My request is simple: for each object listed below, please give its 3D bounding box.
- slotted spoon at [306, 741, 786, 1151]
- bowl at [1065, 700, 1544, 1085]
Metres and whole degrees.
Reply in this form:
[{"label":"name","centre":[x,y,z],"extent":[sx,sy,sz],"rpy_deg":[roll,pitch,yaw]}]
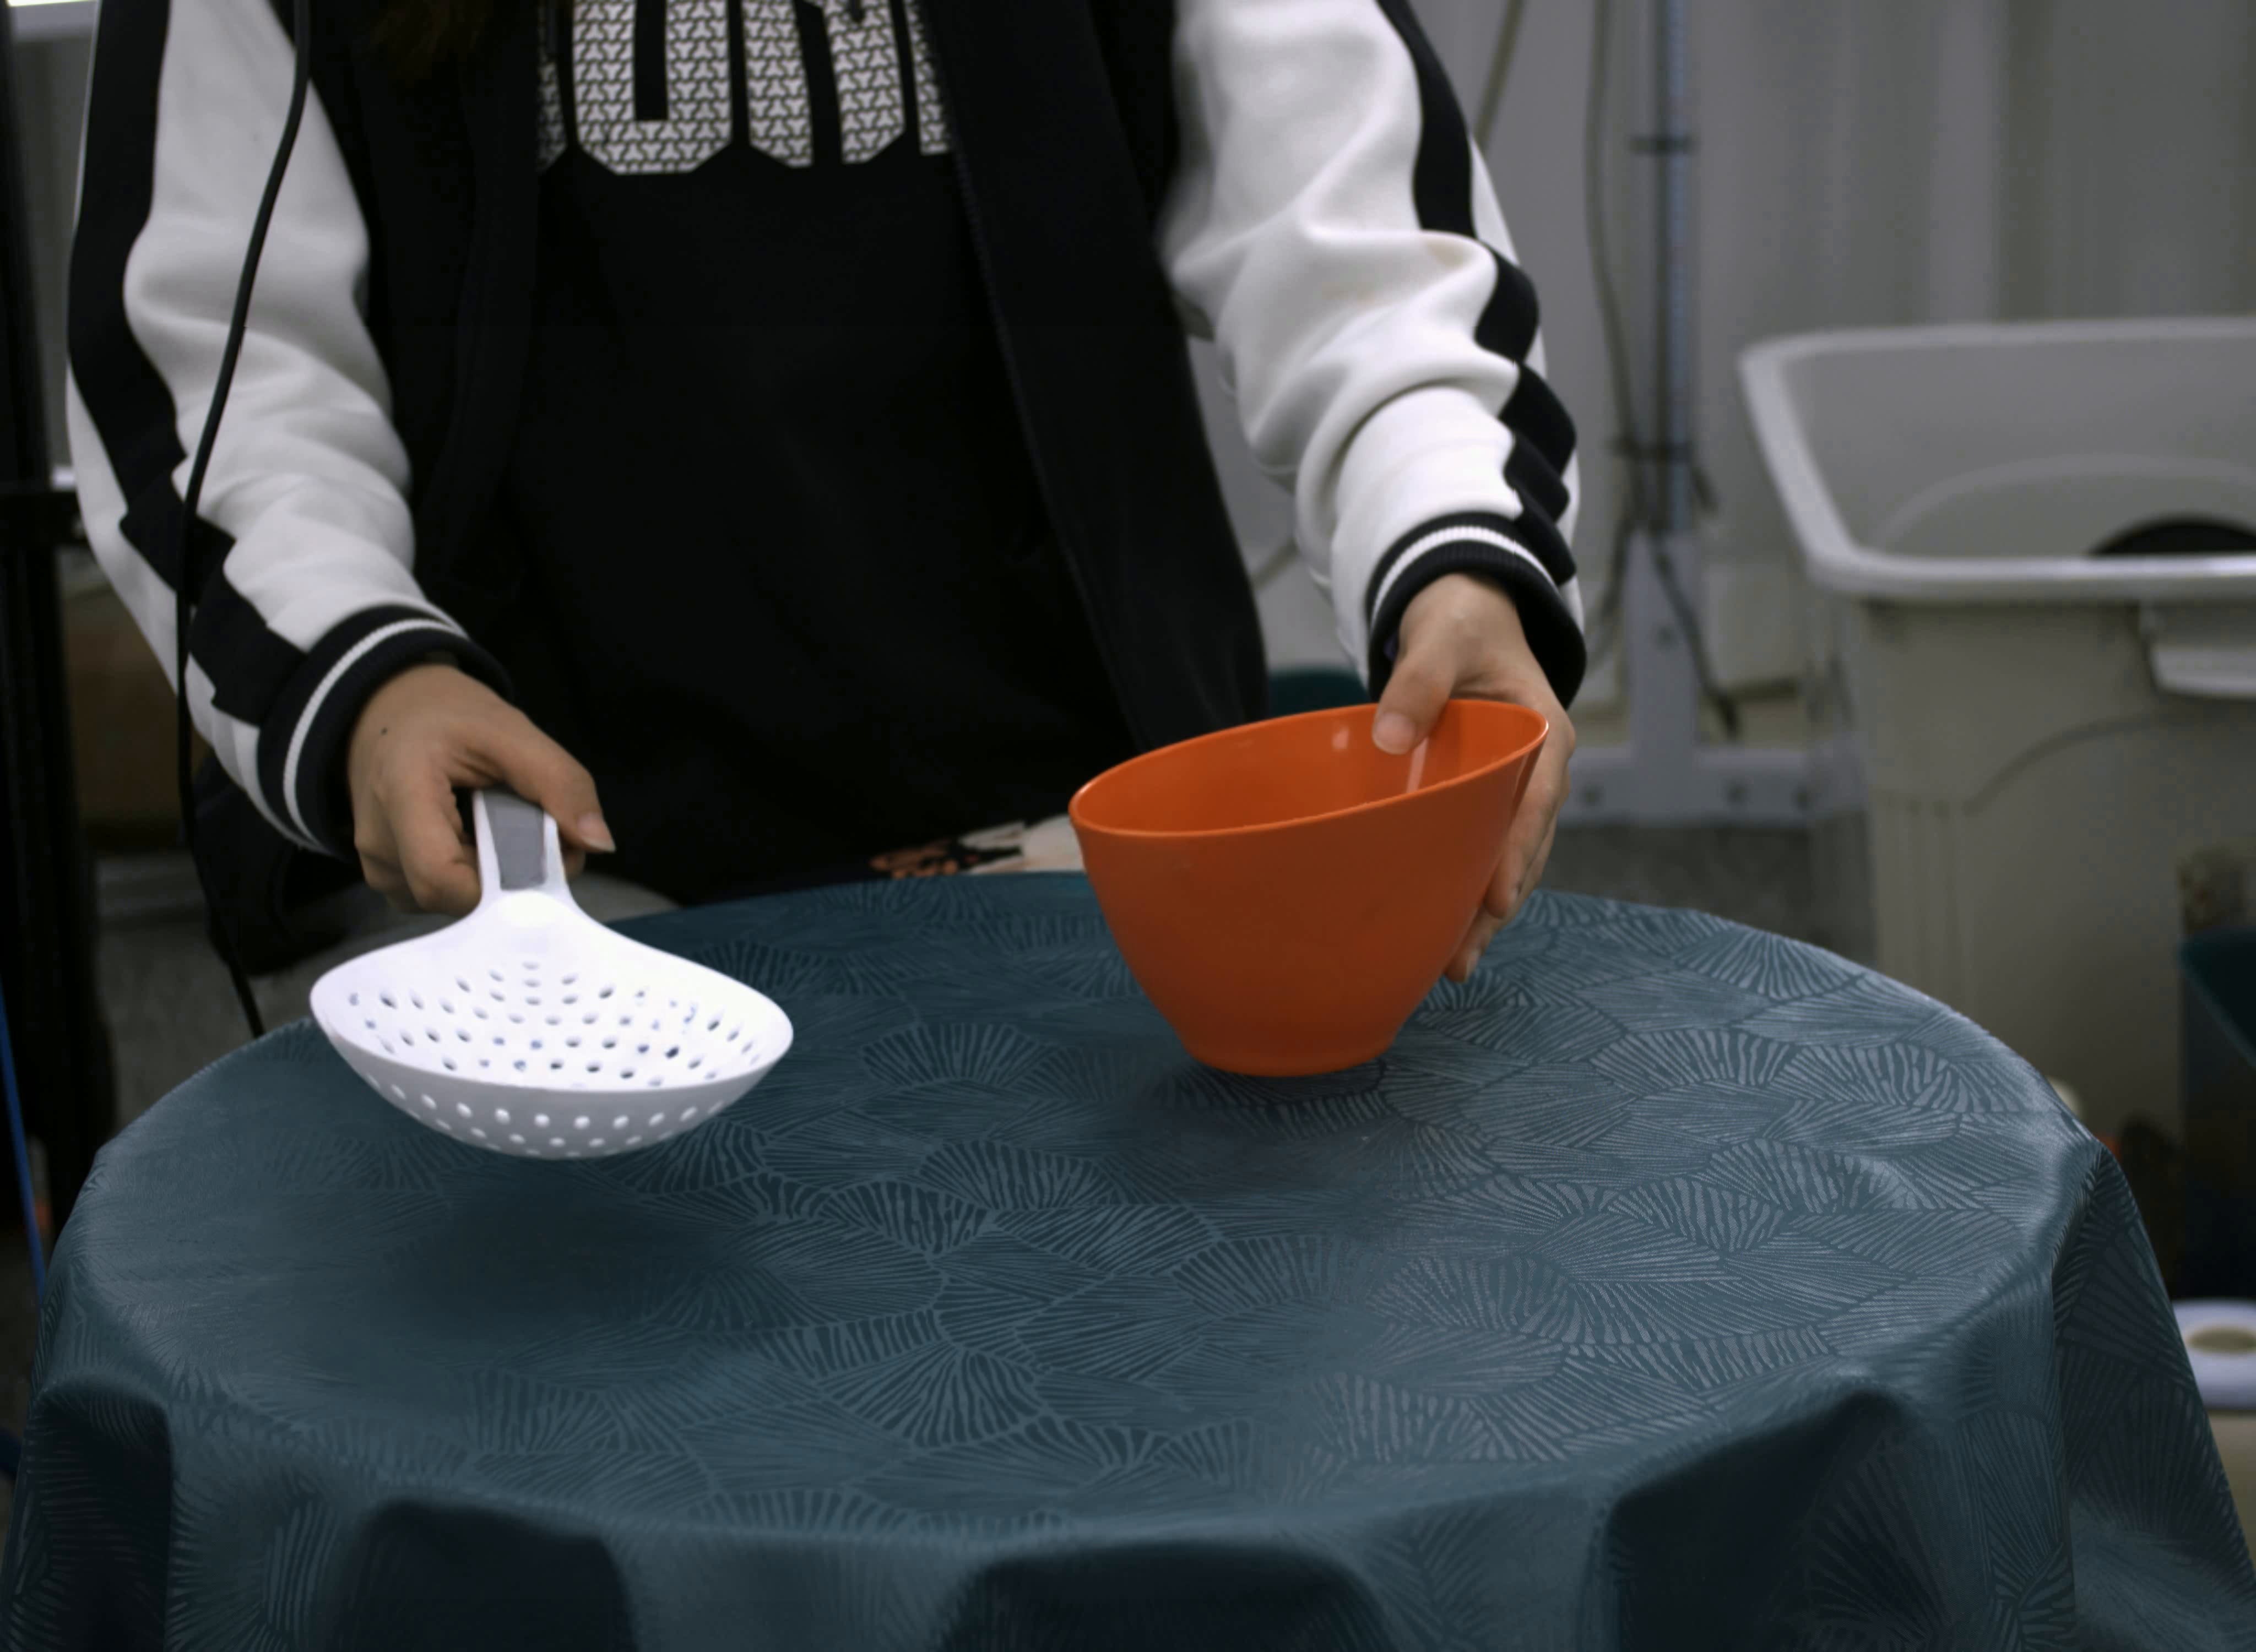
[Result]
[{"label":"slotted spoon","centre":[-0.181,0.027,1.611],"extent":[0.134,0.046,0.353],"rpy_deg":[4,20,-9]},{"label":"bowl","centre":[0.056,0.022,1.628],"extent":[0.147,0.104,0.149],"rpy_deg":[-5,19,0]}]
